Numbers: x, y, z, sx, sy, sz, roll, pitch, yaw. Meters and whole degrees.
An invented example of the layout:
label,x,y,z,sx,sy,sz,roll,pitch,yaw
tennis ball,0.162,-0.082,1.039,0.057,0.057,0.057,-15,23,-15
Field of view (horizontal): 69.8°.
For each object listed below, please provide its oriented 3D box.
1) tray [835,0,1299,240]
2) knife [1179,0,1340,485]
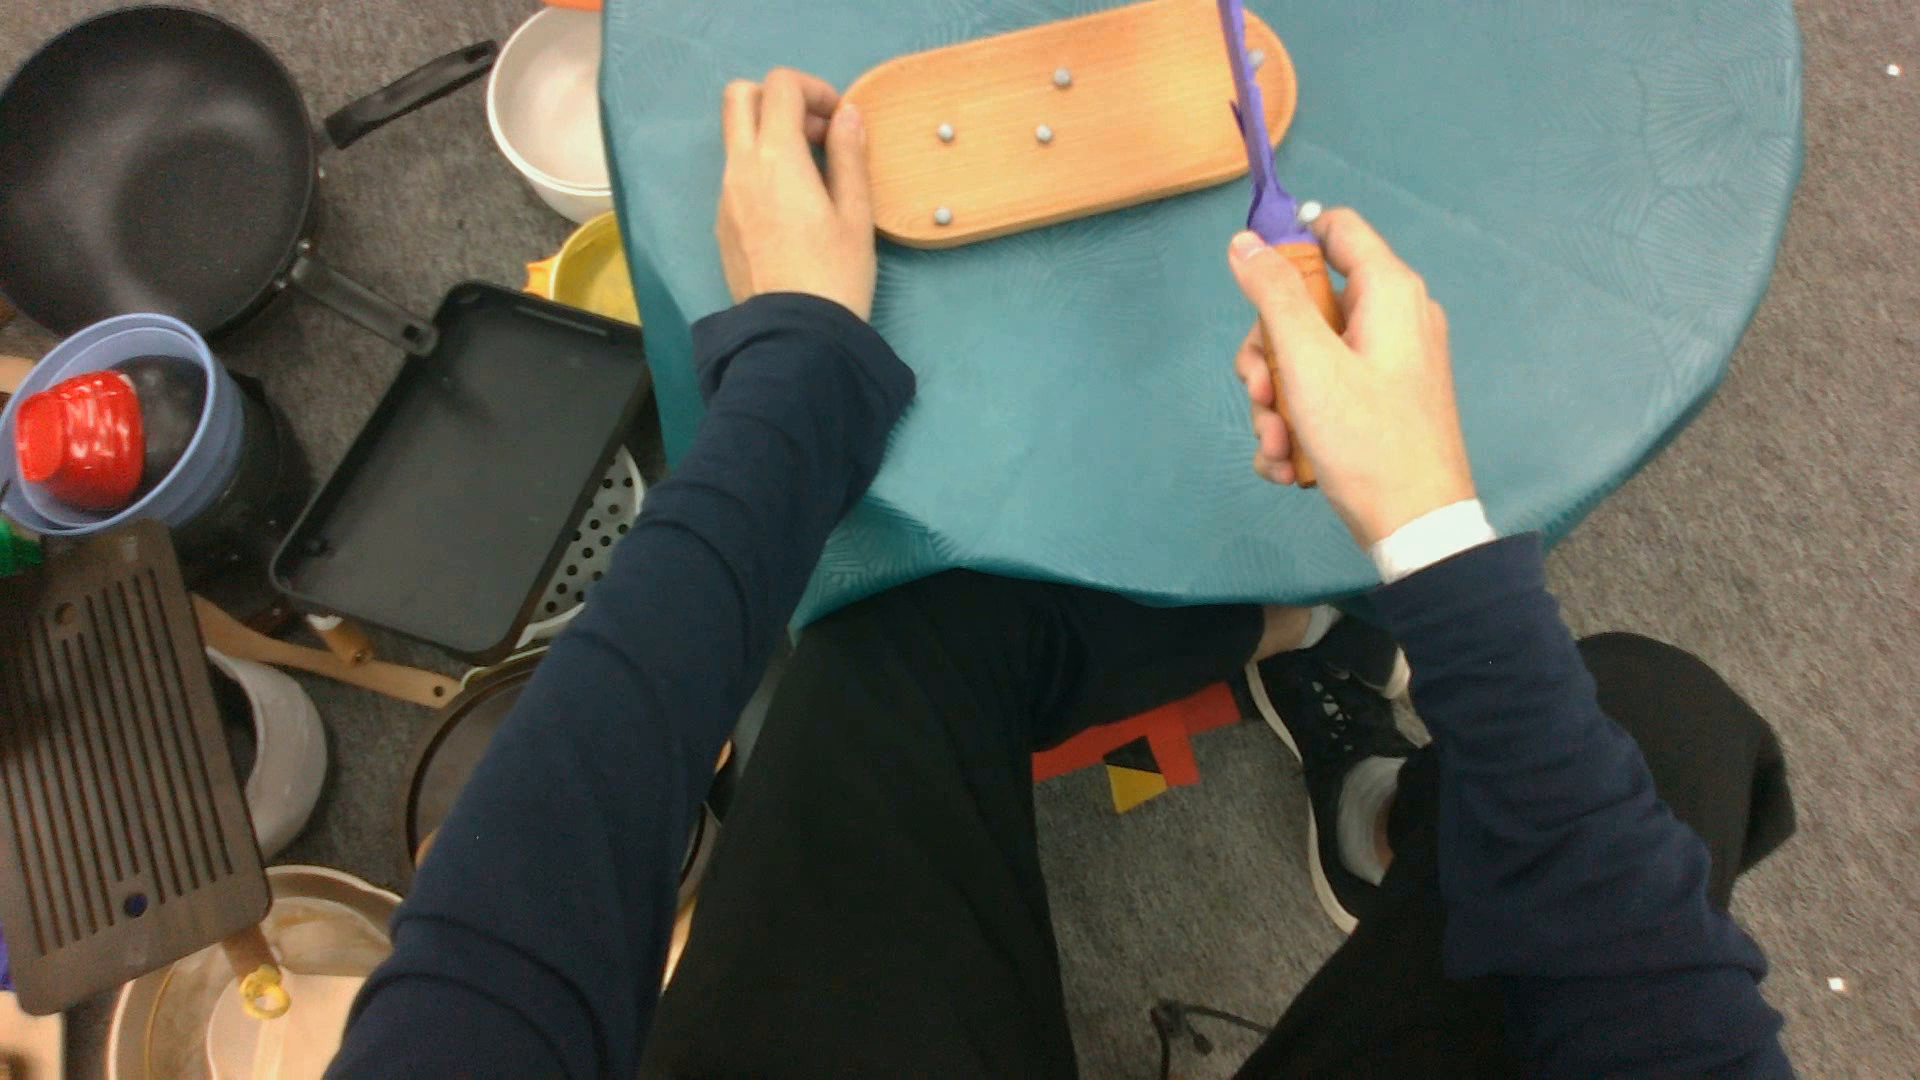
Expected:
label,x,y,z,sx,sy,sz,roll,pitch,yaw
tray,0.053,-0.208,0.675,0.231,0.020,0.102,-14,75,-6
knife,0.113,-0.175,0.576,0.032,0.104,0.315,-10,83,10
